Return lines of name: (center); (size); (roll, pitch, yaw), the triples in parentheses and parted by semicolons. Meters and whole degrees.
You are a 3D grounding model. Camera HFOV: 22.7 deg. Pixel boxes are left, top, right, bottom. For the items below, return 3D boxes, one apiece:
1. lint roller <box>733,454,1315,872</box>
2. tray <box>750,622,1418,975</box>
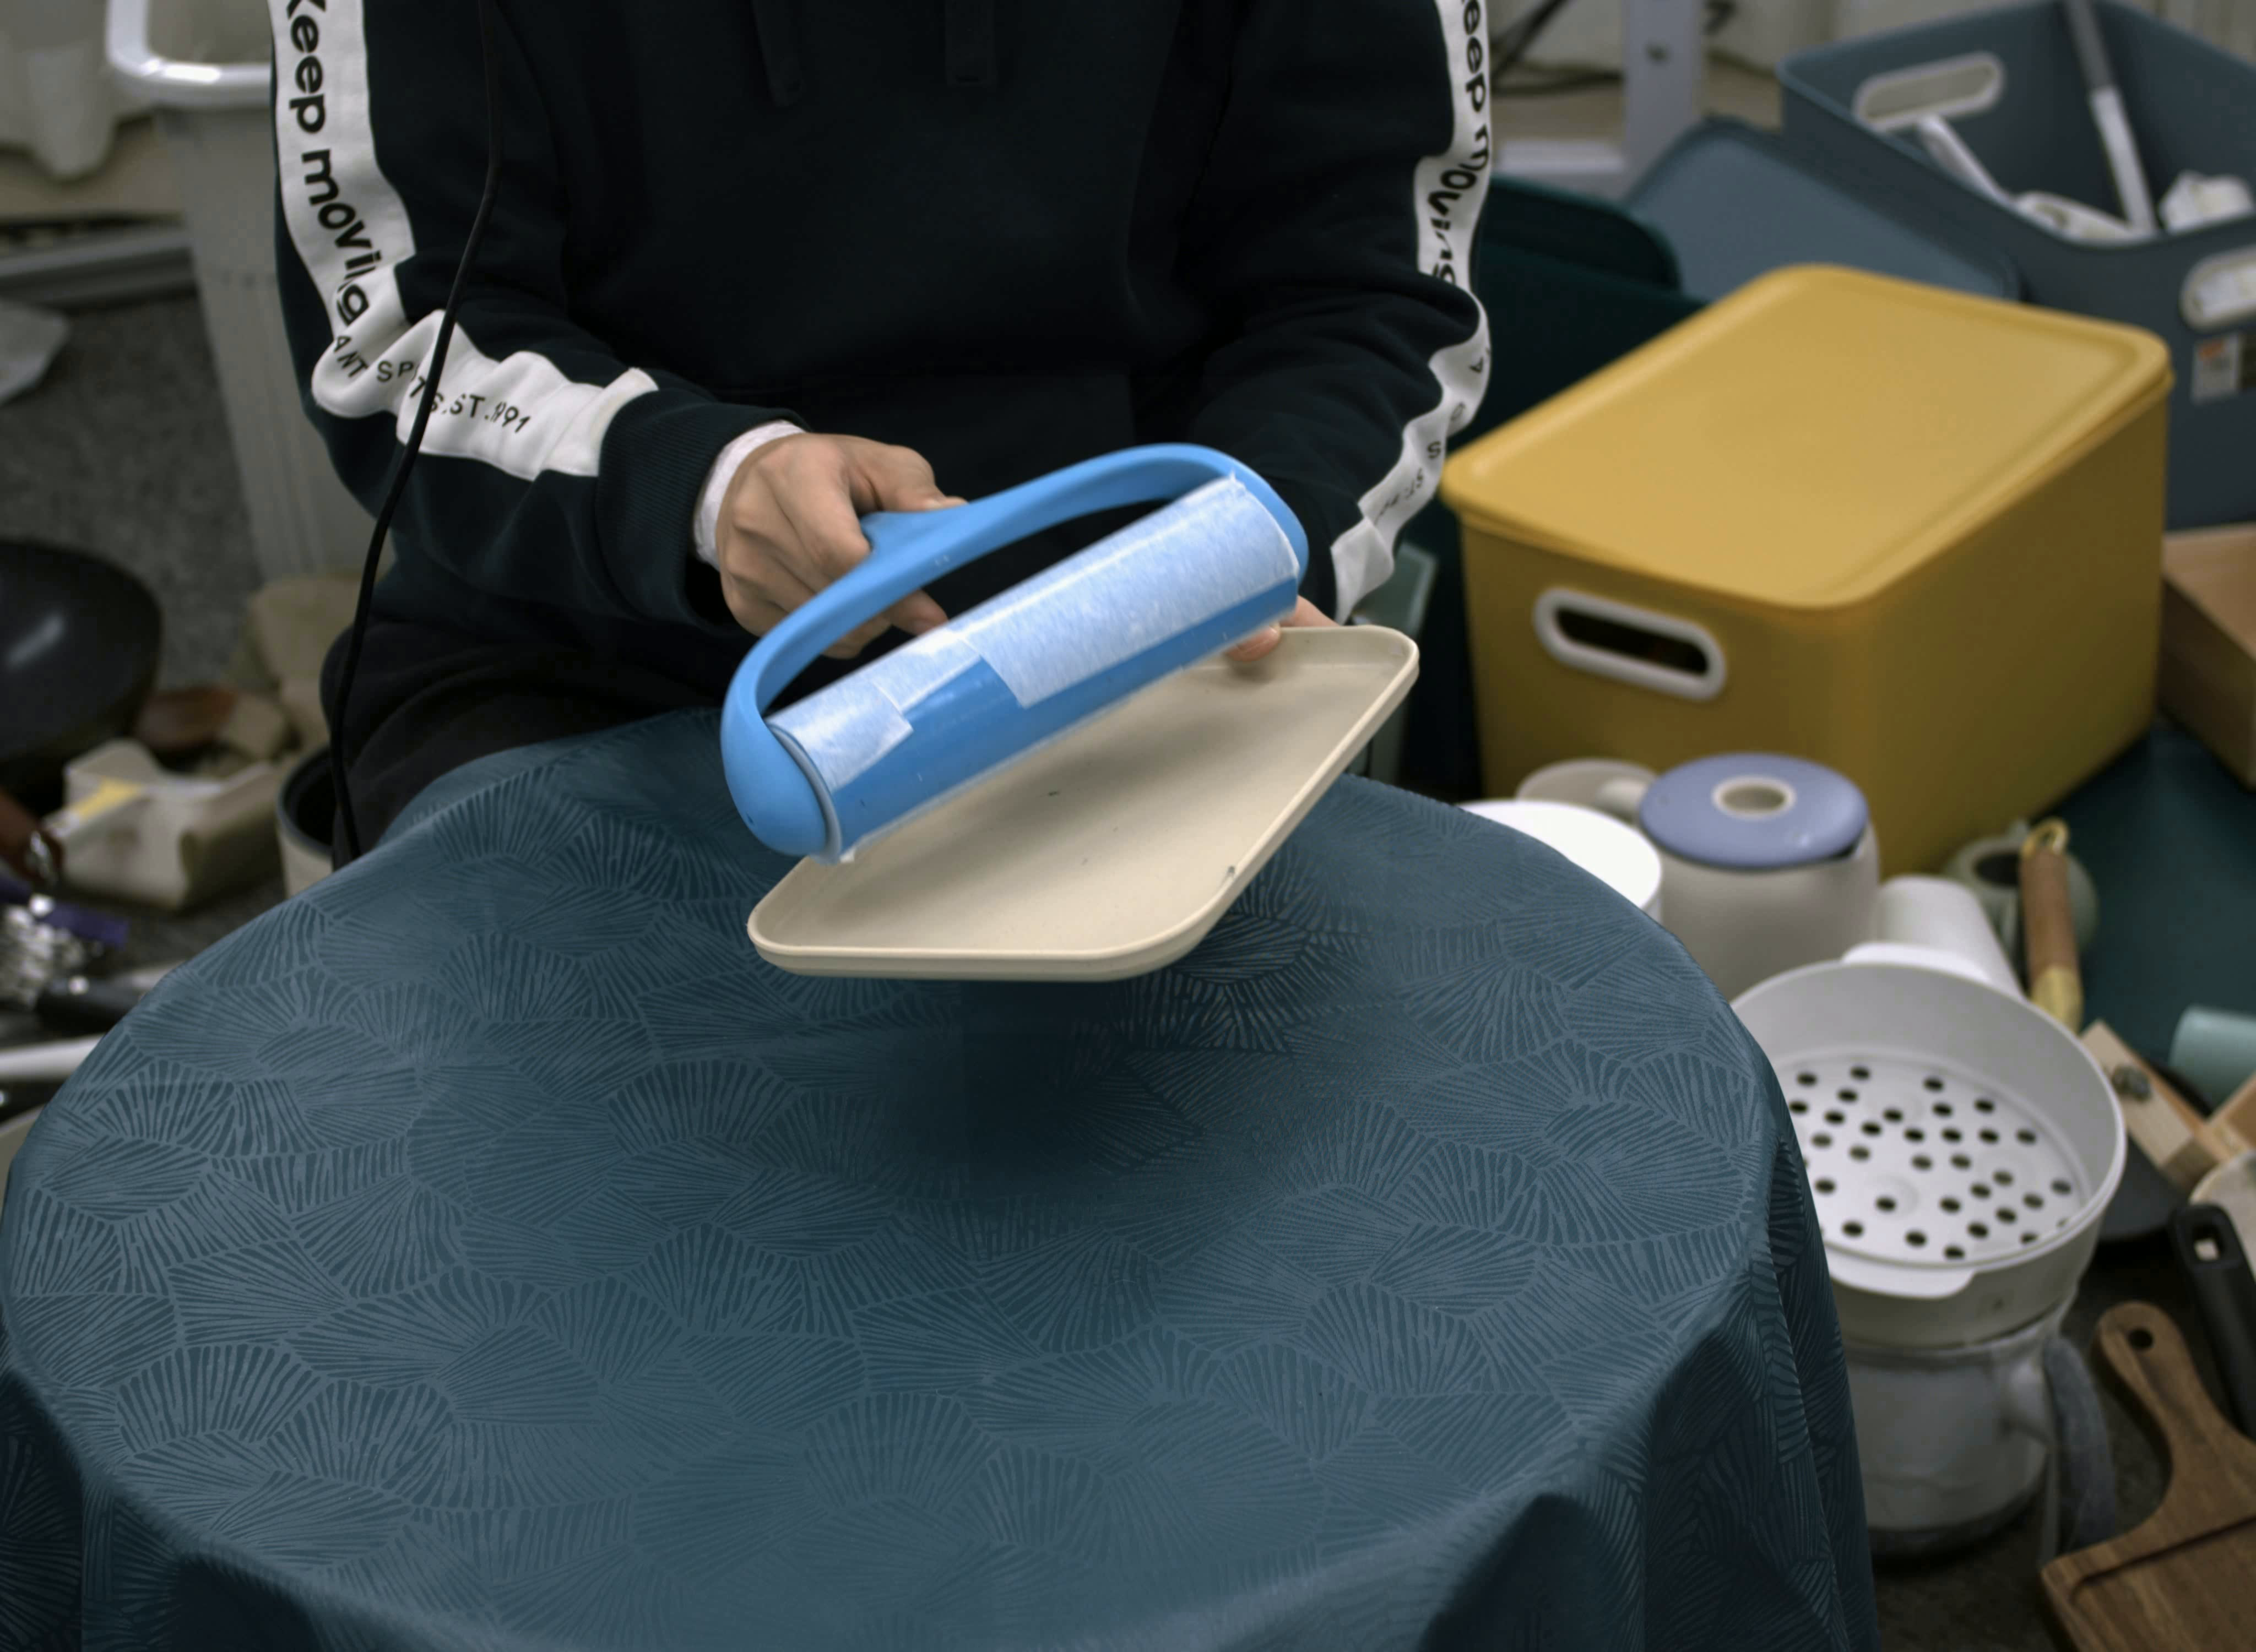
lint roller: (-0.067, -0.072, 1.942); (0.231, 0.067, 0.180); (-32, 37, -27)
tray: (-0.011, -0.009, 1.911); (0.169, 0.017, 0.244); (-1, 27, 28)
